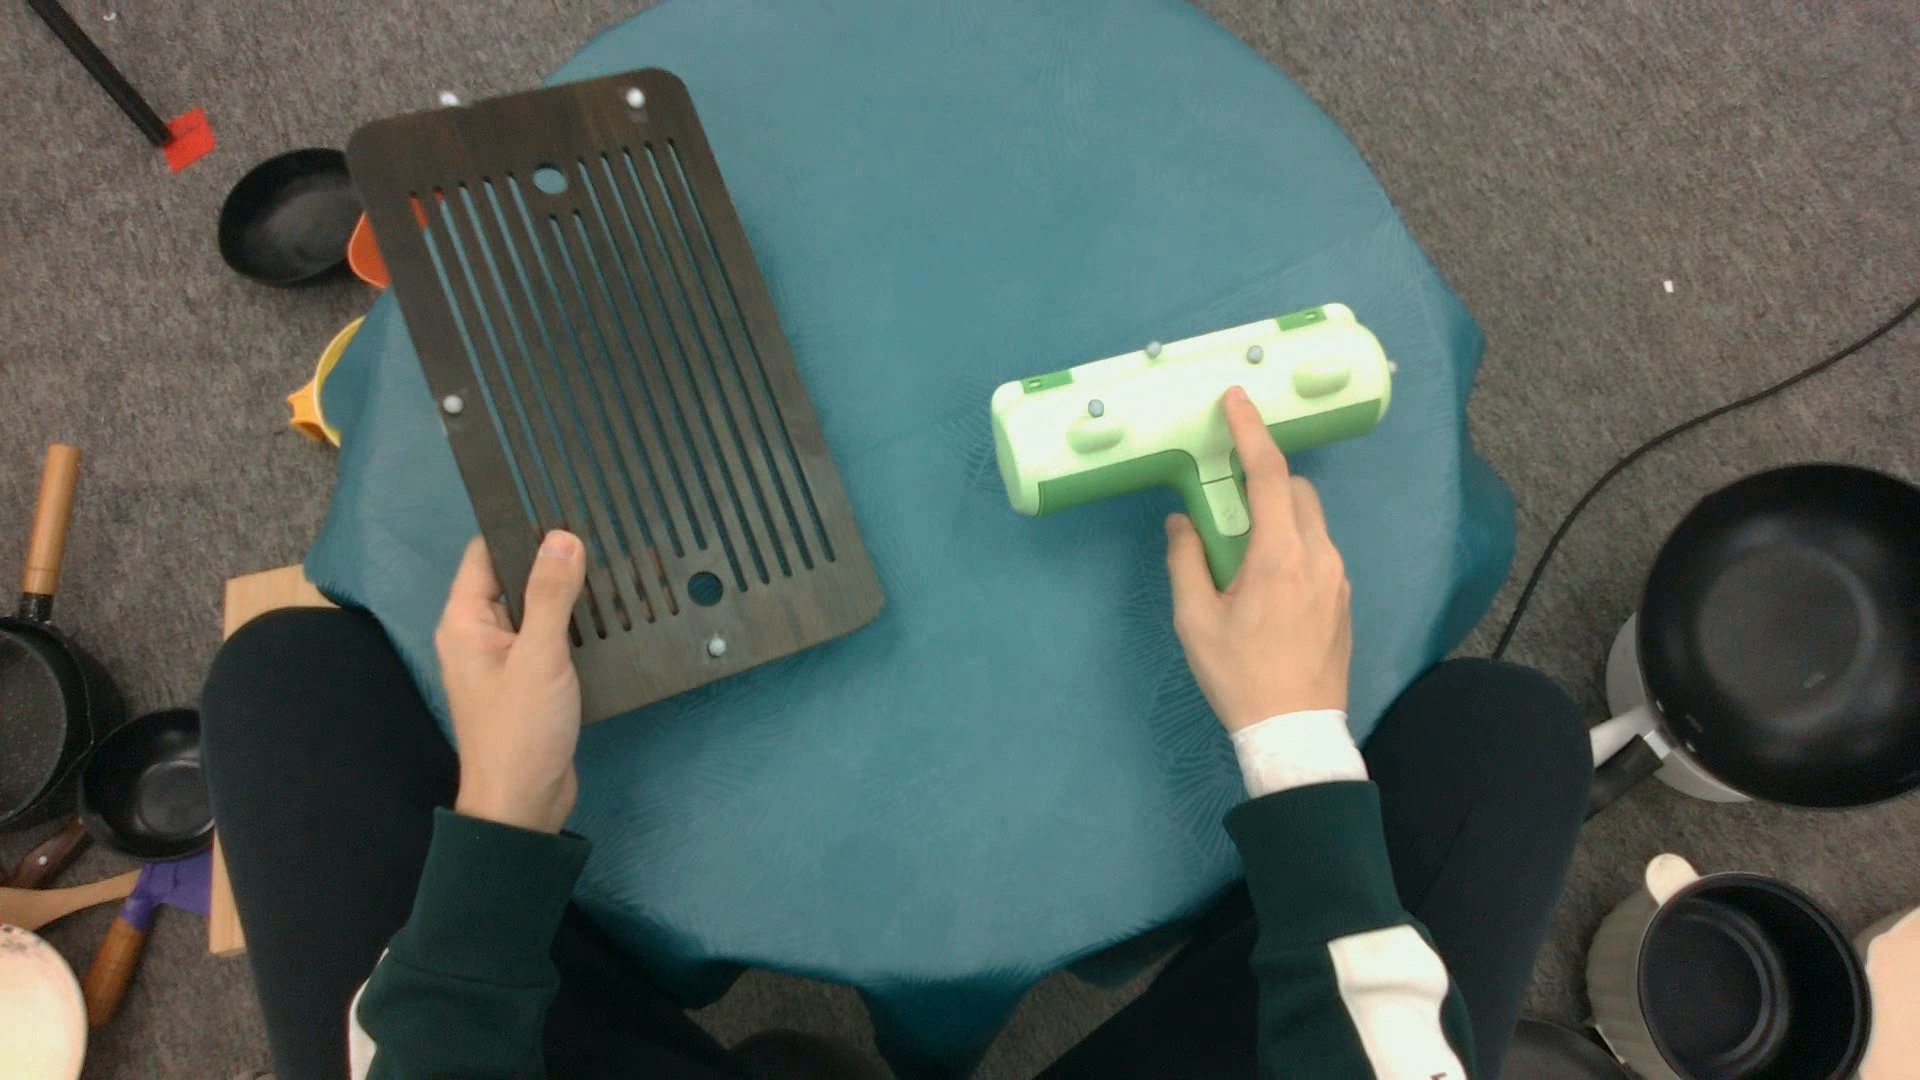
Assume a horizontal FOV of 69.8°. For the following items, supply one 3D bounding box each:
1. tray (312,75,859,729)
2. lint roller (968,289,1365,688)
[{"bbox_3d":[-0.180,-0.076,0.675,0.170,0.018,0.306,-21,84,-22],"label":"tray"},{"bbox_3d":[0.122,-0.022,0.664,0.199,0.082,0.183,-15,72,-11],"label":"lint roller"}]
